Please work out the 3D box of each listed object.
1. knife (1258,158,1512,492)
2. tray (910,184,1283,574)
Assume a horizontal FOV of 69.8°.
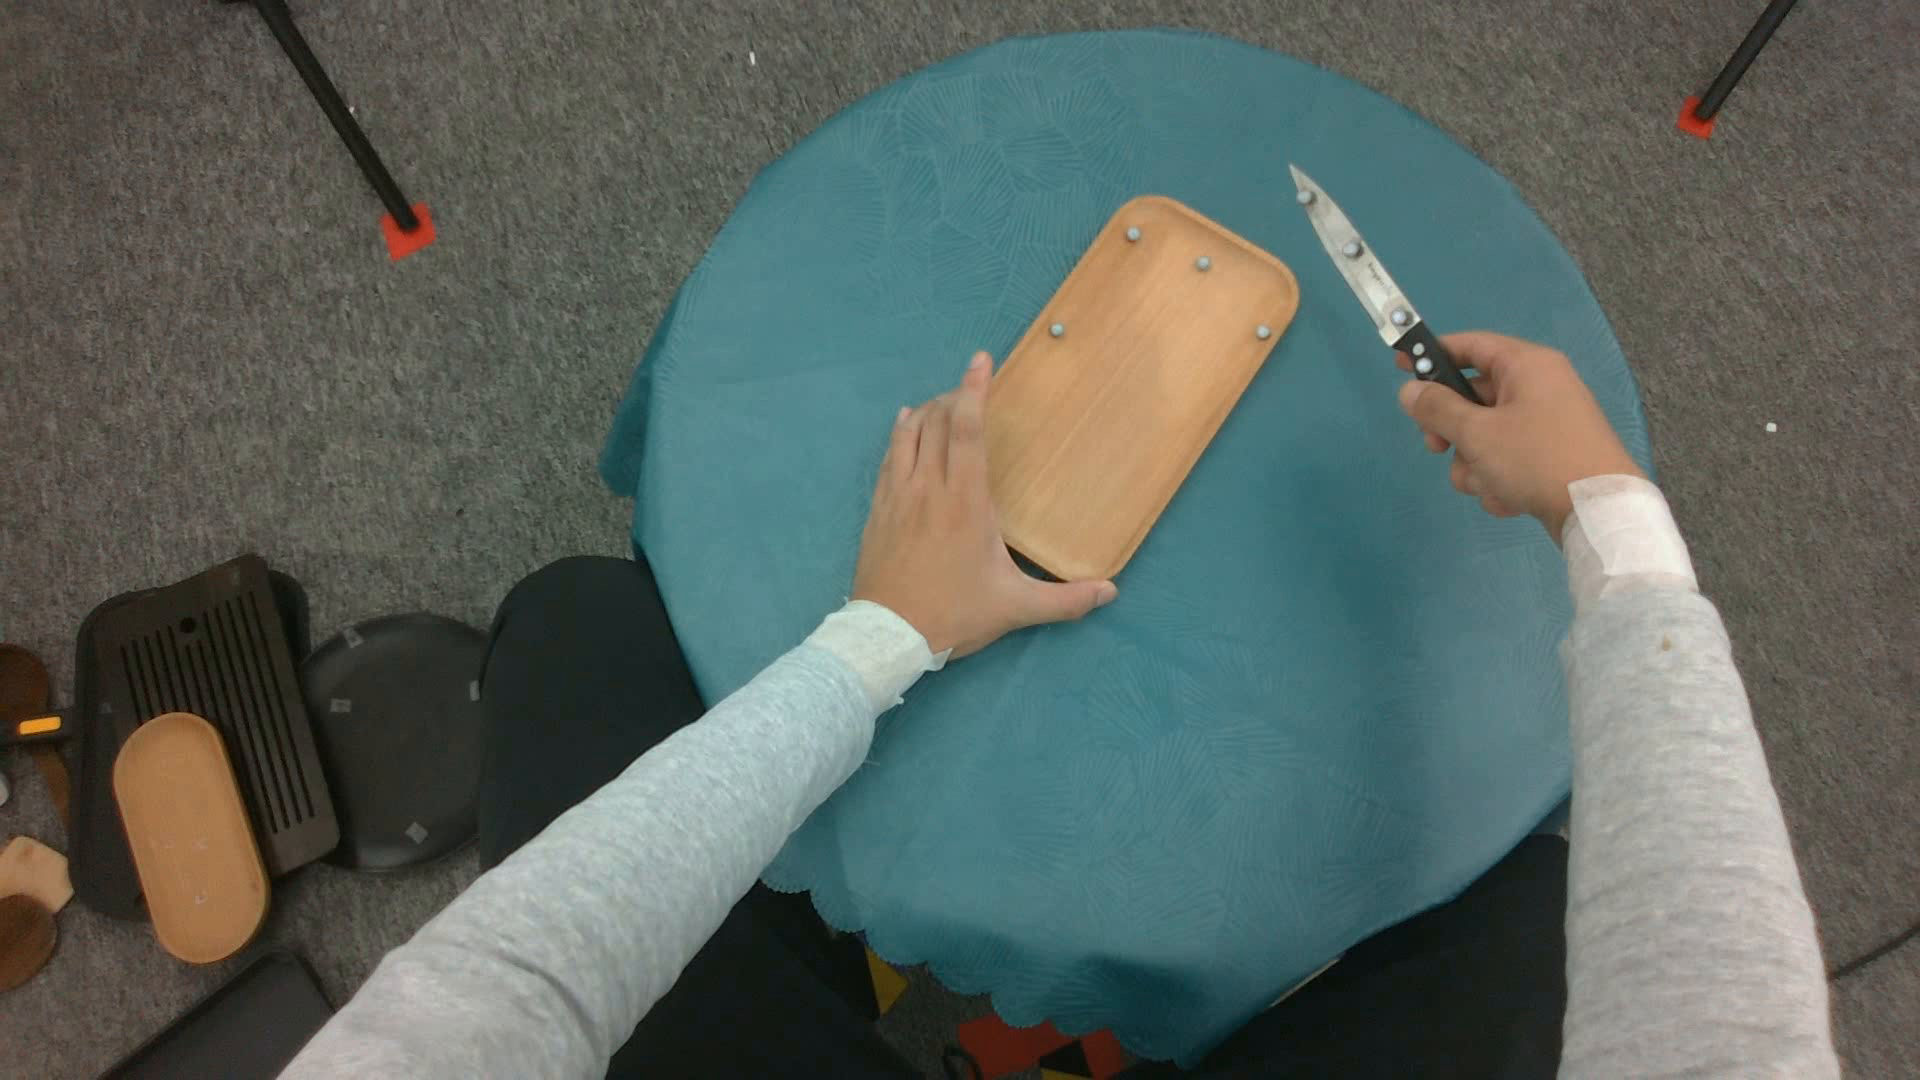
[{"bbox_3d":[0.225,-0.125,0.744,0.016,0.024,0.238,1,53,-47],"label":"knife"},{"bbox_3d":[0.084,-0.100,0.819,0.130,0.023,0.251,33,73,12],"label":"tray"}]
